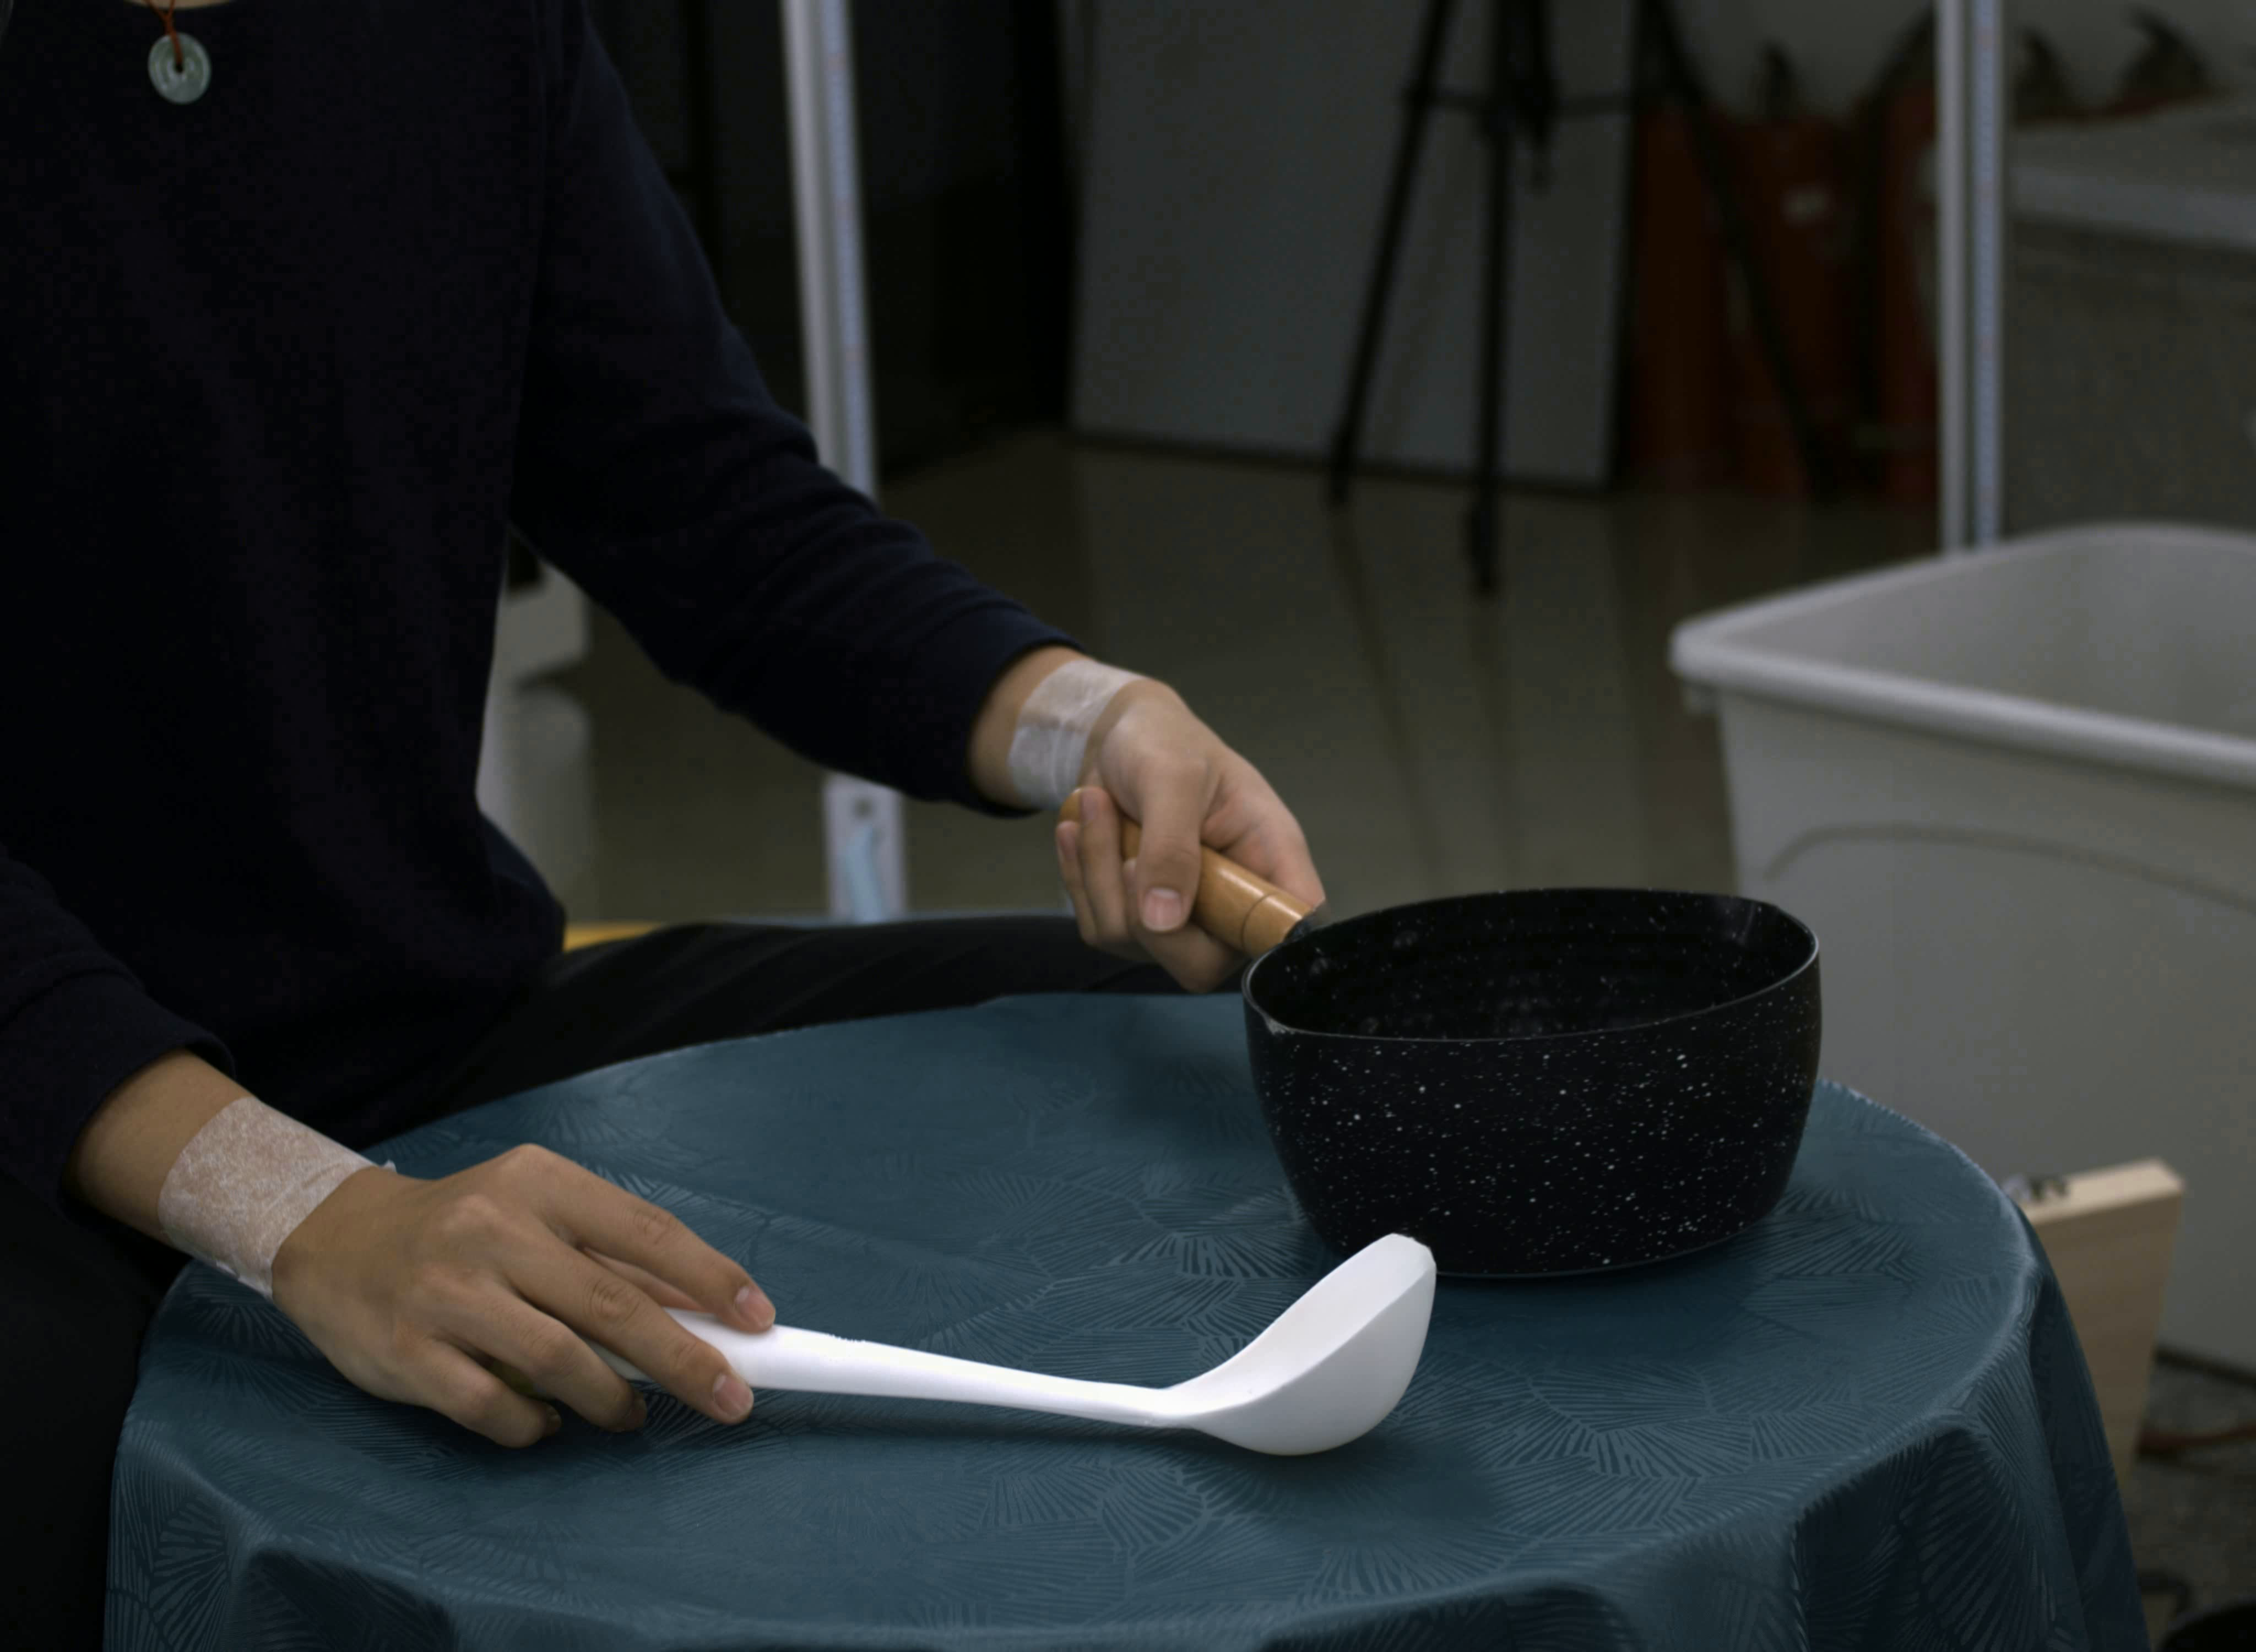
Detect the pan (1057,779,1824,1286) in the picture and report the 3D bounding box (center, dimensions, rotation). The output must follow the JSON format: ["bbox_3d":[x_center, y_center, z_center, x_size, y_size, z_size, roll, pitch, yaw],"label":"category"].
[{"bbox_3d":[0.082,0.060,1.768,0.203,0.109,0.346,-15,16,-34],"label":"pan"}]

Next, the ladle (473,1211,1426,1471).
[{"bbox_3d":[-0.053,0.144,1.548,0.292,0.070,0.090,2,29,19],"label":"ladle"}]
